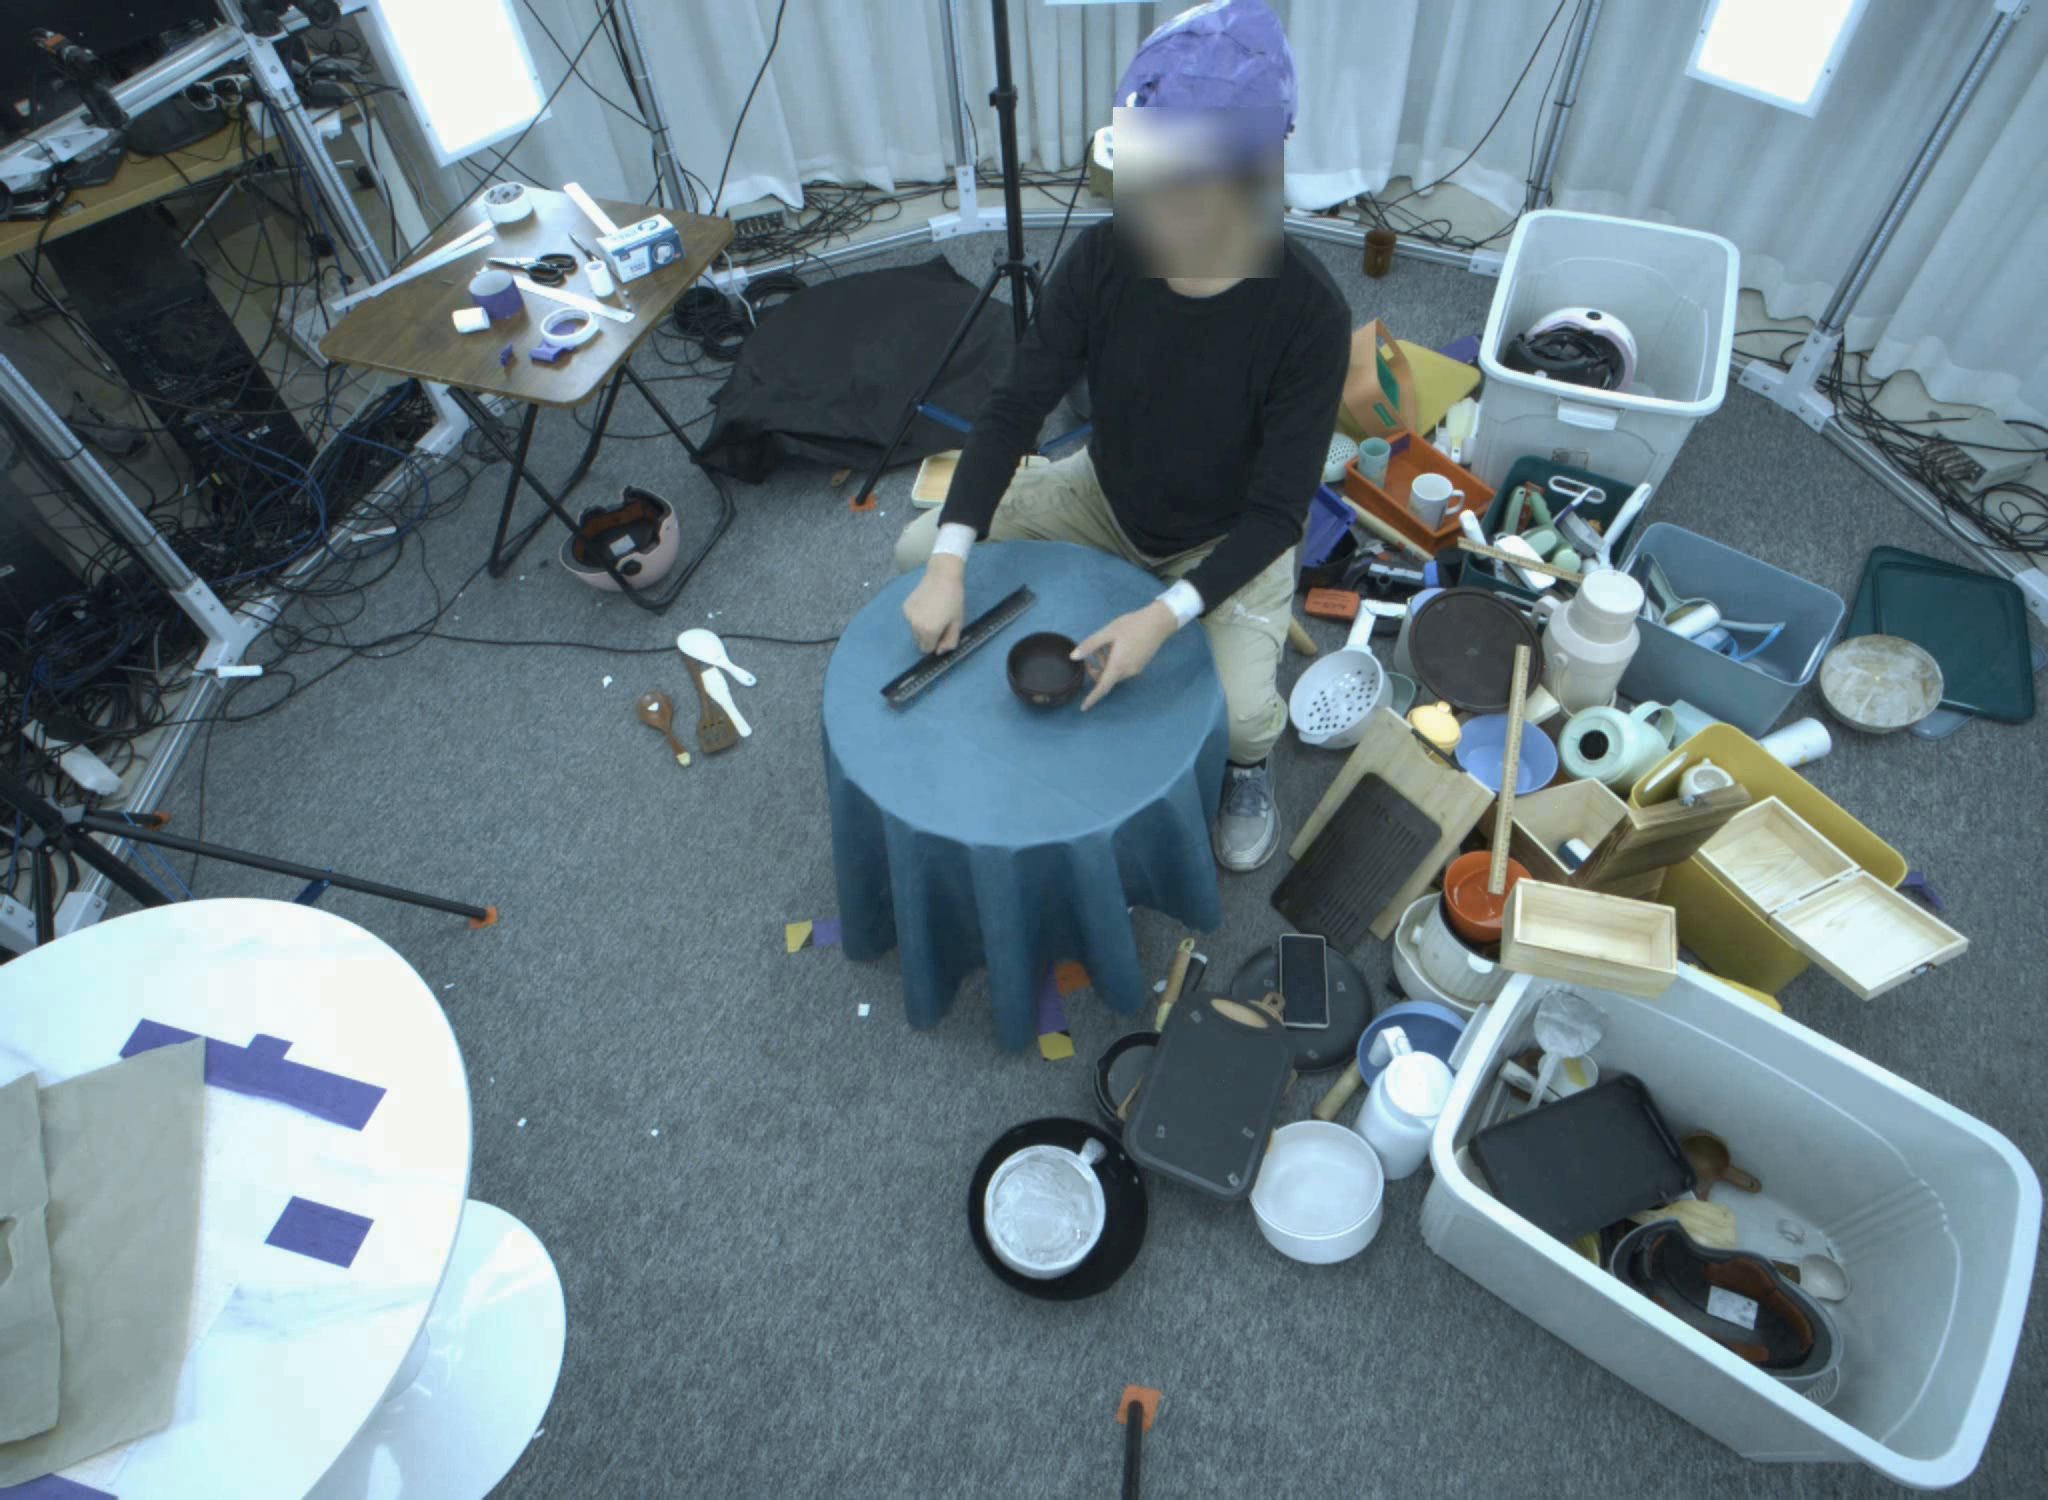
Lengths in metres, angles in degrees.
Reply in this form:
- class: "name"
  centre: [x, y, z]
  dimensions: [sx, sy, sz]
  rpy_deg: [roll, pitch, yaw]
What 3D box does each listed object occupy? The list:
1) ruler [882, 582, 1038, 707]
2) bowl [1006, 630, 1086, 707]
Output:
- class: "ruler"
  centre: [-0.095, -0.167, 1.889]
  dimensions: [0.039, 0.017, 0.315]
  rpy_deg: [39, 61, 20]
- class: "bowl"
  centre: [0.033, -0.113, 1.821]
  dimensions: [0.118, 0.070, 0.117]
  rpy_deg: [-1, 56, 2]
